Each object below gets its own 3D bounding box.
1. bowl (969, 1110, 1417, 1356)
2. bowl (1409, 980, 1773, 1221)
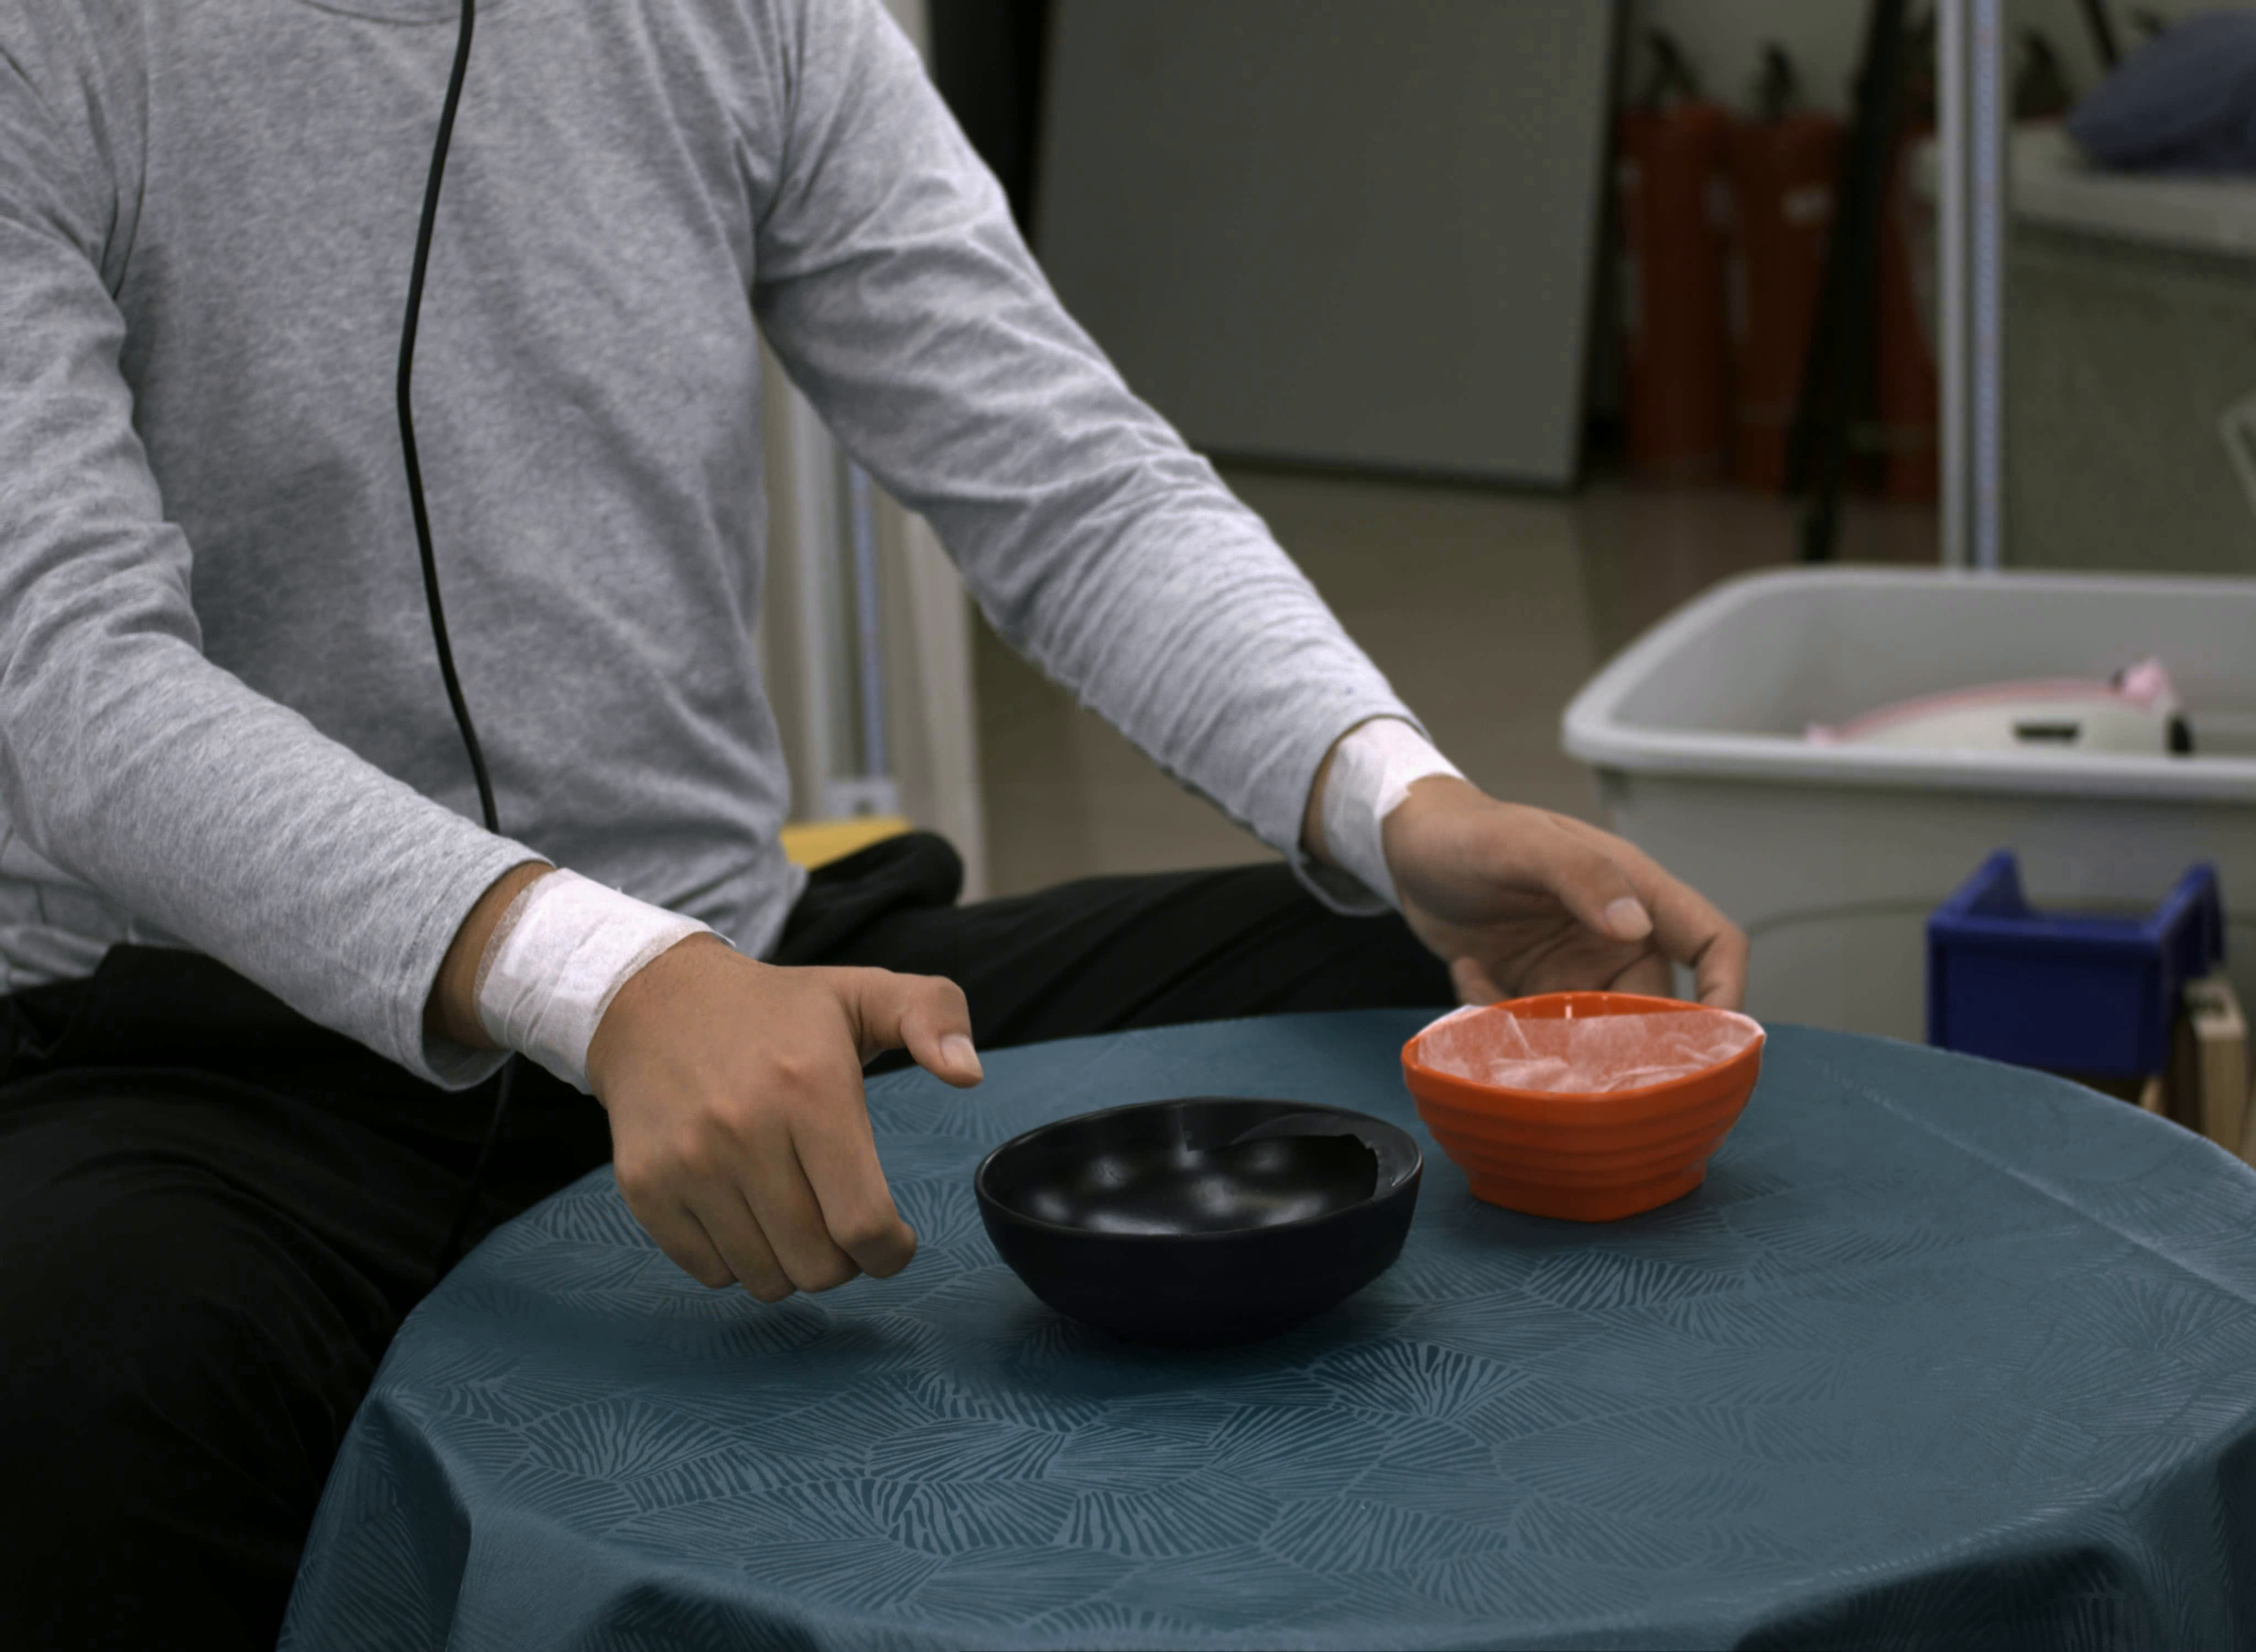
[{"bbox_3d":[0.022,0.128,1.645,0.138,0.050,0.140,-5,11,0],"label":"bowl"},{"bbox_3d":[0.150,0.091,1.740,0.117,0.052,0.119,-4,16,0],"label":"bowl"}]
